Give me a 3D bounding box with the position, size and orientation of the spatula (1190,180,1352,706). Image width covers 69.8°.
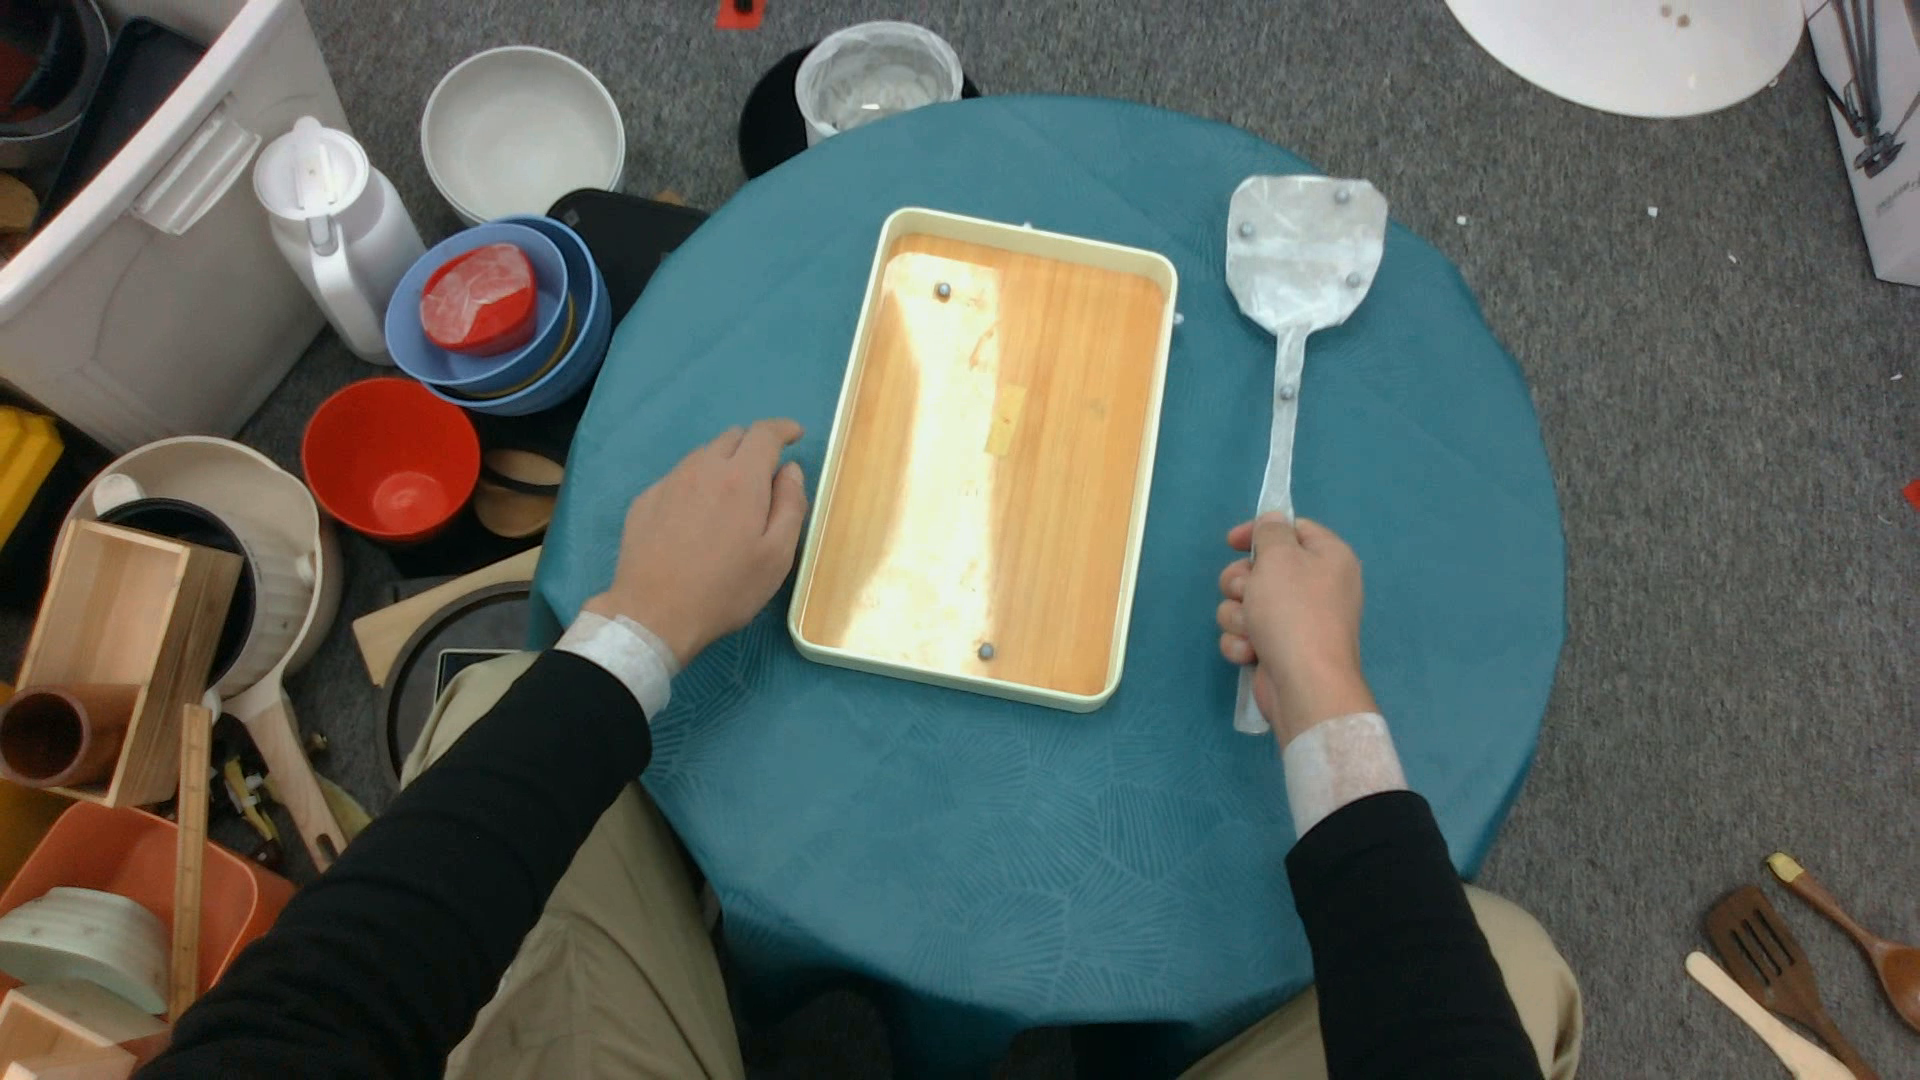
[{"bbox_3d":[0.172,-0.071,0.820,0.098,0.044,0.366,10,58,7],"label":"spatula"}]

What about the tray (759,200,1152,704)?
[{"bbox_3d":[0.004,-0.061,0.825,0.191,0.027,0.301,11,67,0],"label":"tray"}]
